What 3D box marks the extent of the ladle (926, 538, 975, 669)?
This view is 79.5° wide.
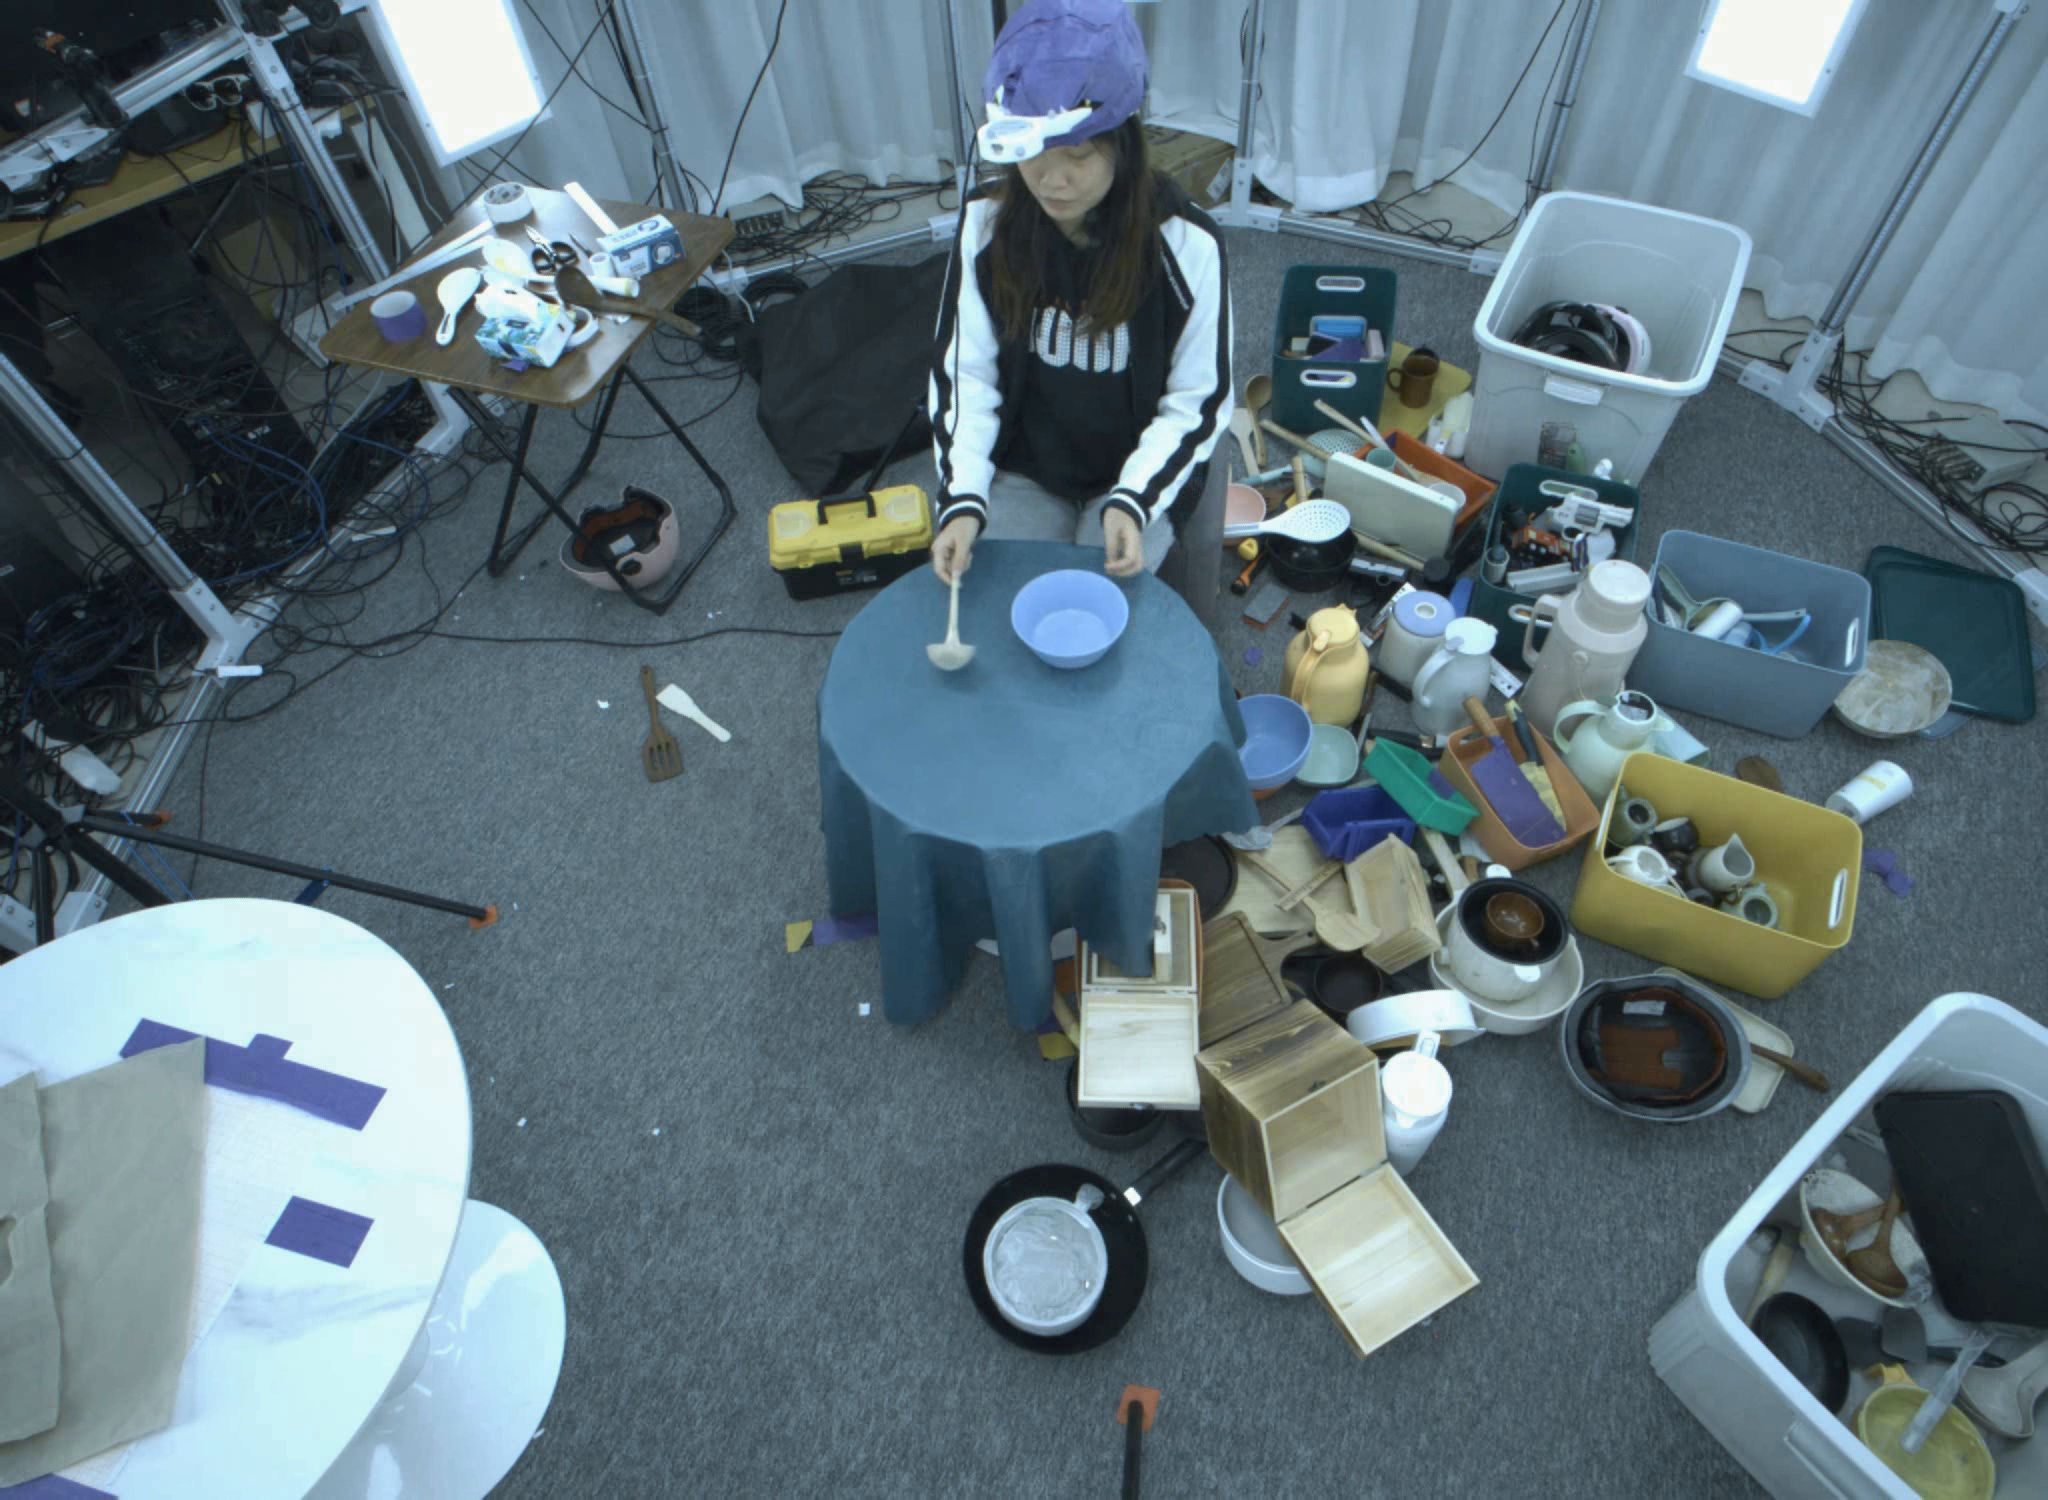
[{"bbox_3d":[-0.113,-0.241,1.874,0.072,0.073,0.252,-2,65,0],"label":"ladle"}]

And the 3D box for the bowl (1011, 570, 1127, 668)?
[{"bbox_3d":[0.068,-0.191,1.877,0.176,0.071,0.174,0,55,1],"label":"bowl"}]
